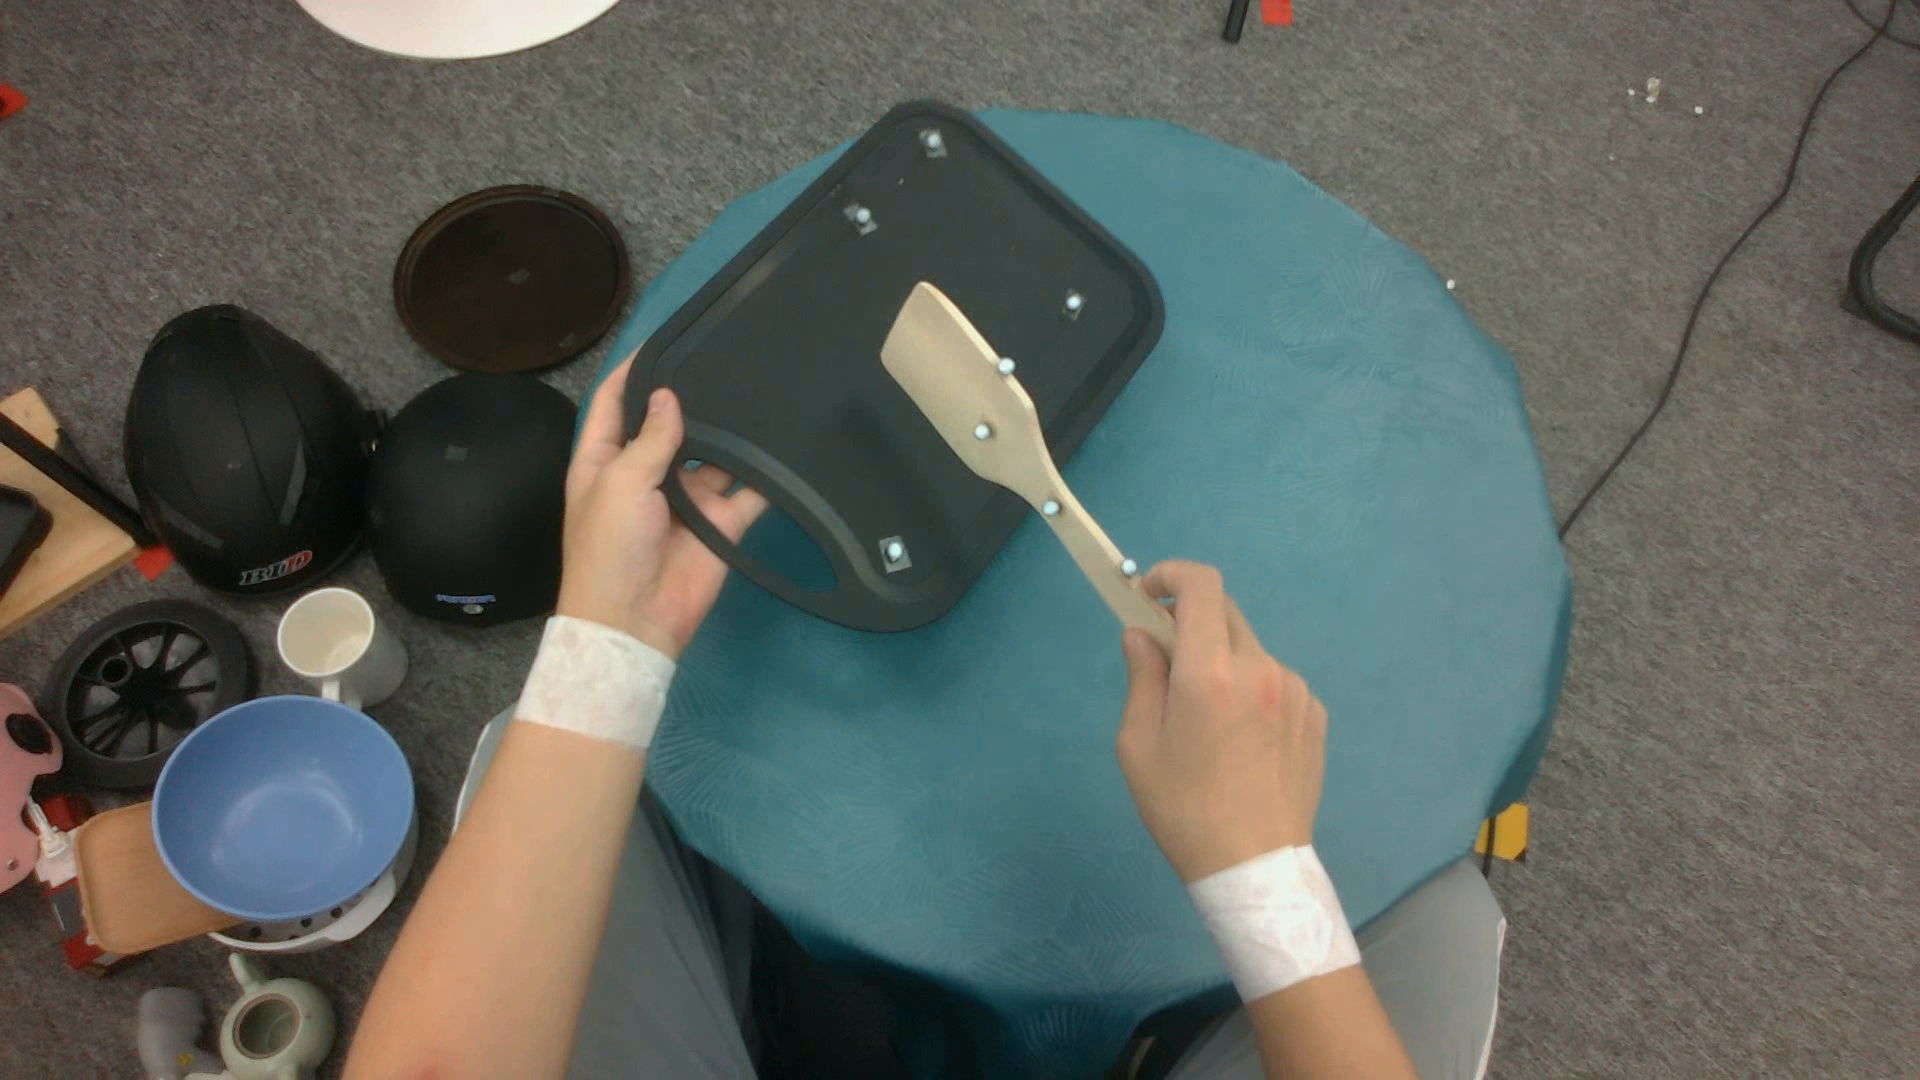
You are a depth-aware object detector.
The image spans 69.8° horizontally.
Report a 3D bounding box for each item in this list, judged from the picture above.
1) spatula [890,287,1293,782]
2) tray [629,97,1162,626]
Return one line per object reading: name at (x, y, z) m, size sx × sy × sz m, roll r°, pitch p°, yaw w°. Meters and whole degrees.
spatula at (0.064, -0.001, 0.676) m, size 0.011 × 0.072 × 0.293 m, roll -31°, pitch 77°, yaw -33°
tray at (-0.027, -0.106, 0.770) m, size 0.211 × 0.010 × 0.327 m, roll 40°, pitch 62°, yaw -3°
